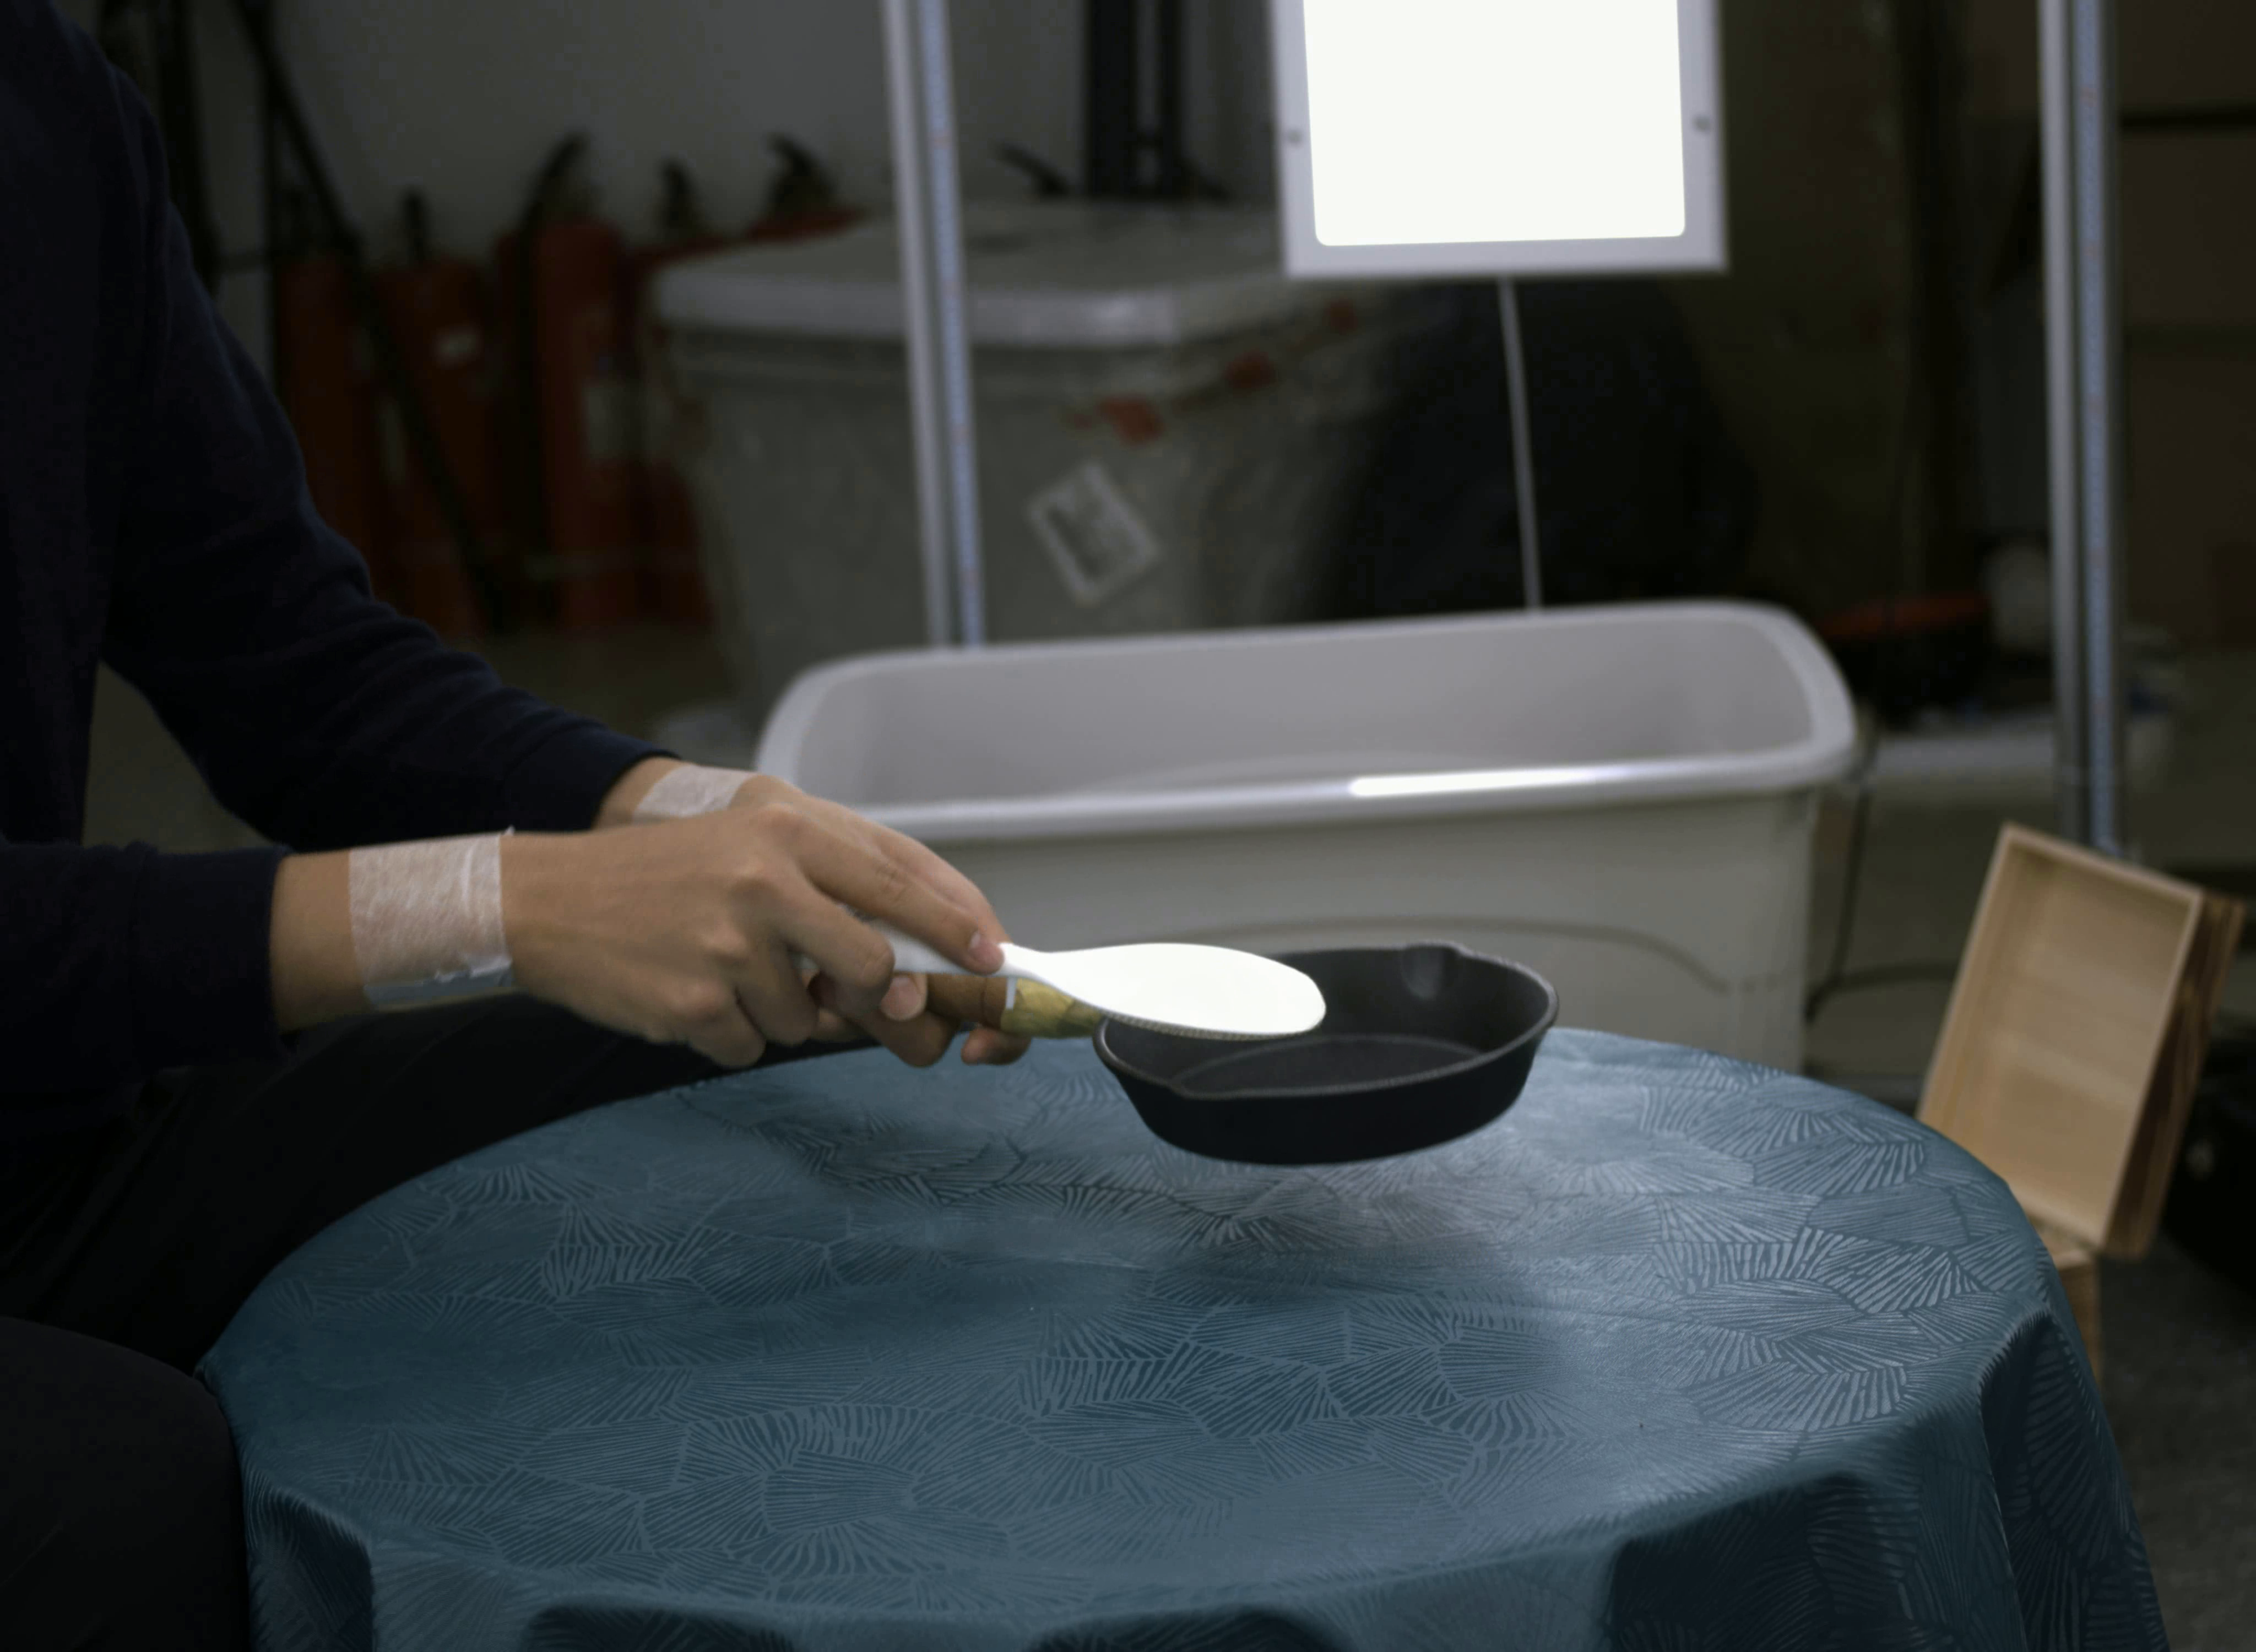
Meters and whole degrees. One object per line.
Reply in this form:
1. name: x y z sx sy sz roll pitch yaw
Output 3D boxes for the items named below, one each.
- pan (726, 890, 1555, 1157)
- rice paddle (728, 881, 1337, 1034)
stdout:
1. pan: -0.004 0.061 1.893 0.331 0.050 0.165 6 20 35
2. rice paddle: -0.031 0.044 1.841 0.205 0.029 0.068 7 24 1
